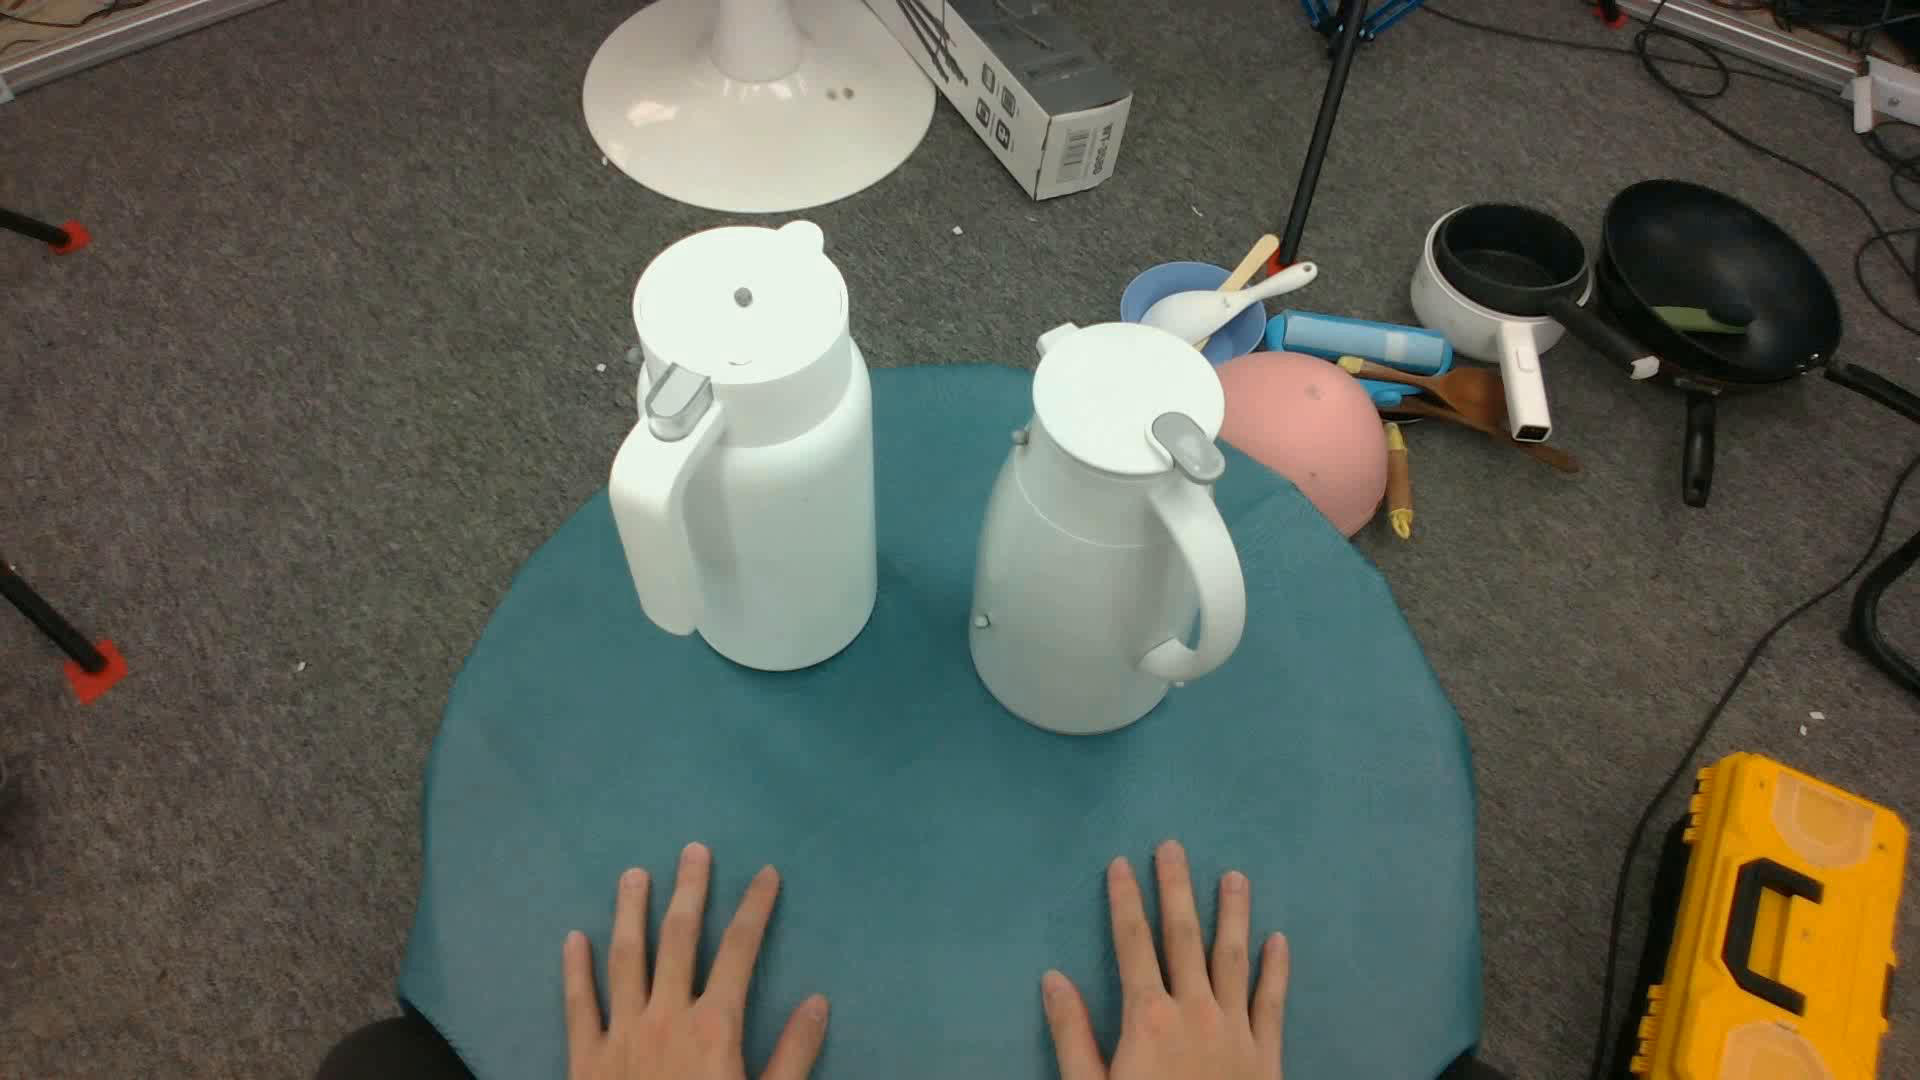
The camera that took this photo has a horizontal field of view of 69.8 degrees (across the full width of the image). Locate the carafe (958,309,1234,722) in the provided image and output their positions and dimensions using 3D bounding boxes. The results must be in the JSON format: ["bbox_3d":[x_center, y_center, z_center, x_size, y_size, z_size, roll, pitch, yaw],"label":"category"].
[{"bbox_3d":[0.081,0.001,0.738,0.133,0.247,0.168,-27,64,-19],"label":"carafe"}]

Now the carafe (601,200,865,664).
[{"bbox_3d":[-0.117,-0.030,0.735,0.124,0.267,0.173,22,59,8],"label":"carafe"}]
